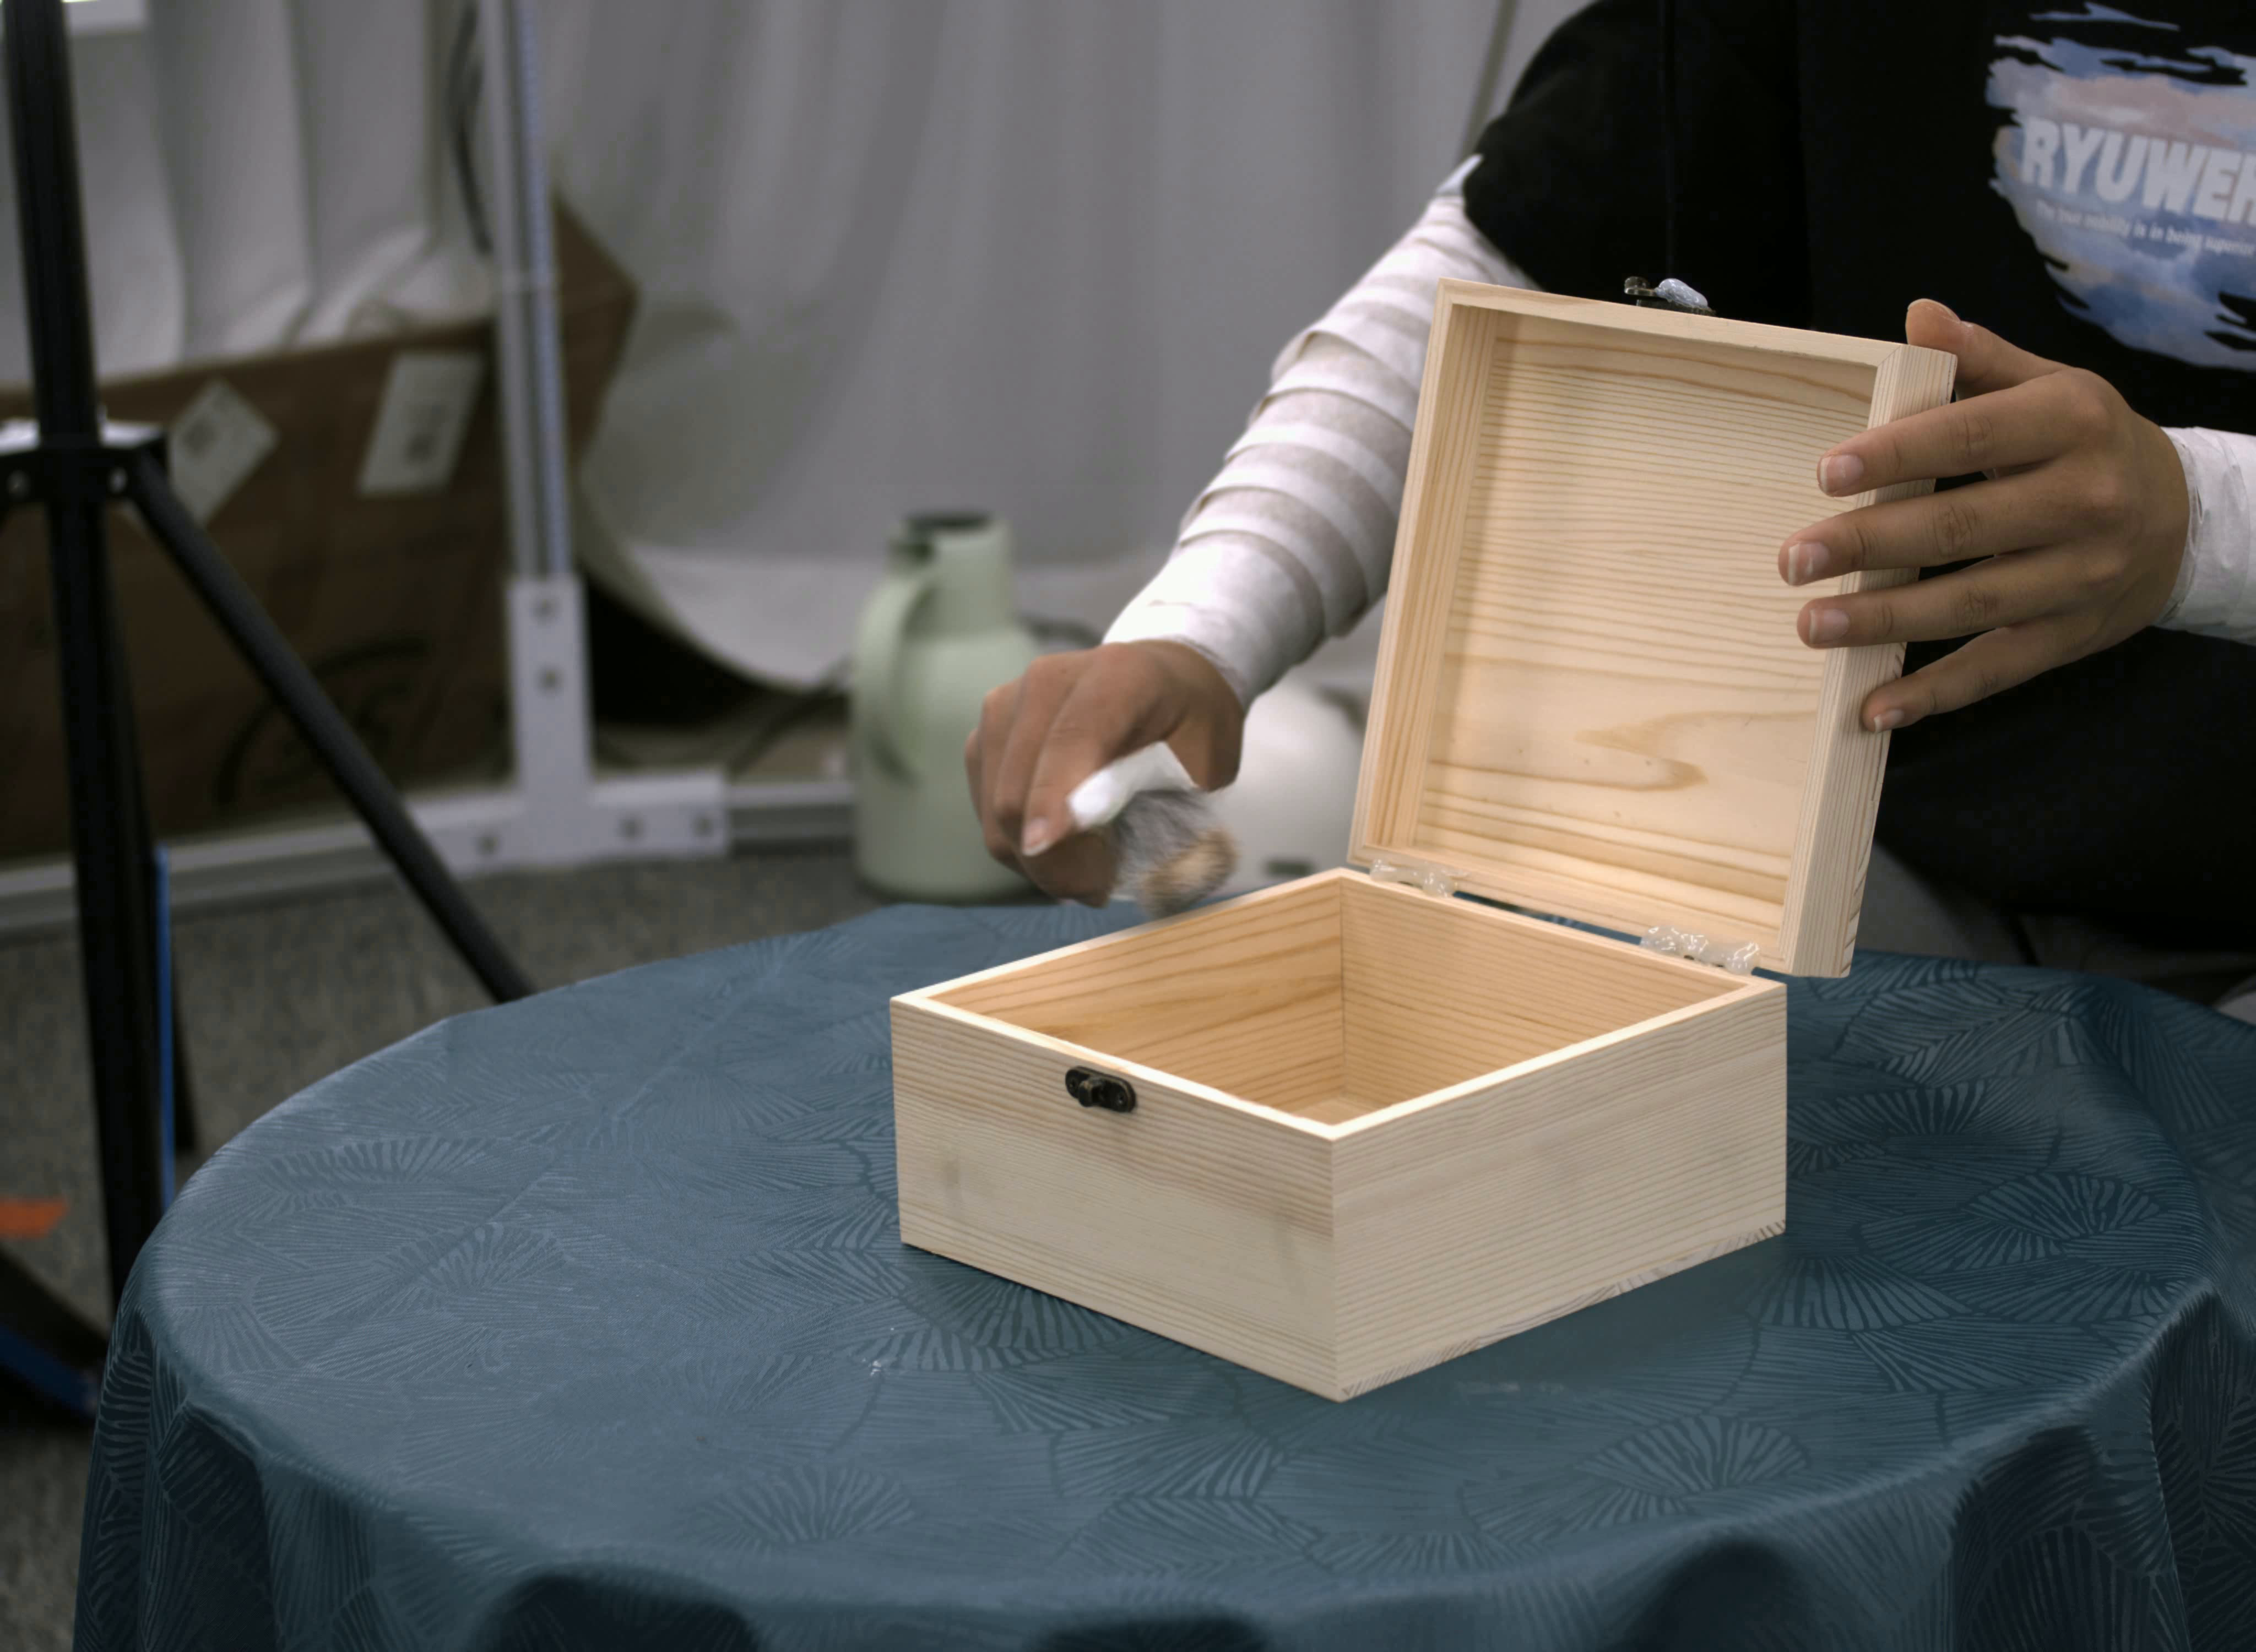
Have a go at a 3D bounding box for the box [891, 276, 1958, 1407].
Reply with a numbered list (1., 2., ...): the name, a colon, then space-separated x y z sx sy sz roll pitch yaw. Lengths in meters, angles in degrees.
1. box: 0.082 -0.008 1.503 0.259 0.253 0.186 -15 18 -40

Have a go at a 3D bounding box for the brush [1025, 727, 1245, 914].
1. brush: 0.001 0.003 1.662 0.034 0.050 0.244 -35 2 -7
